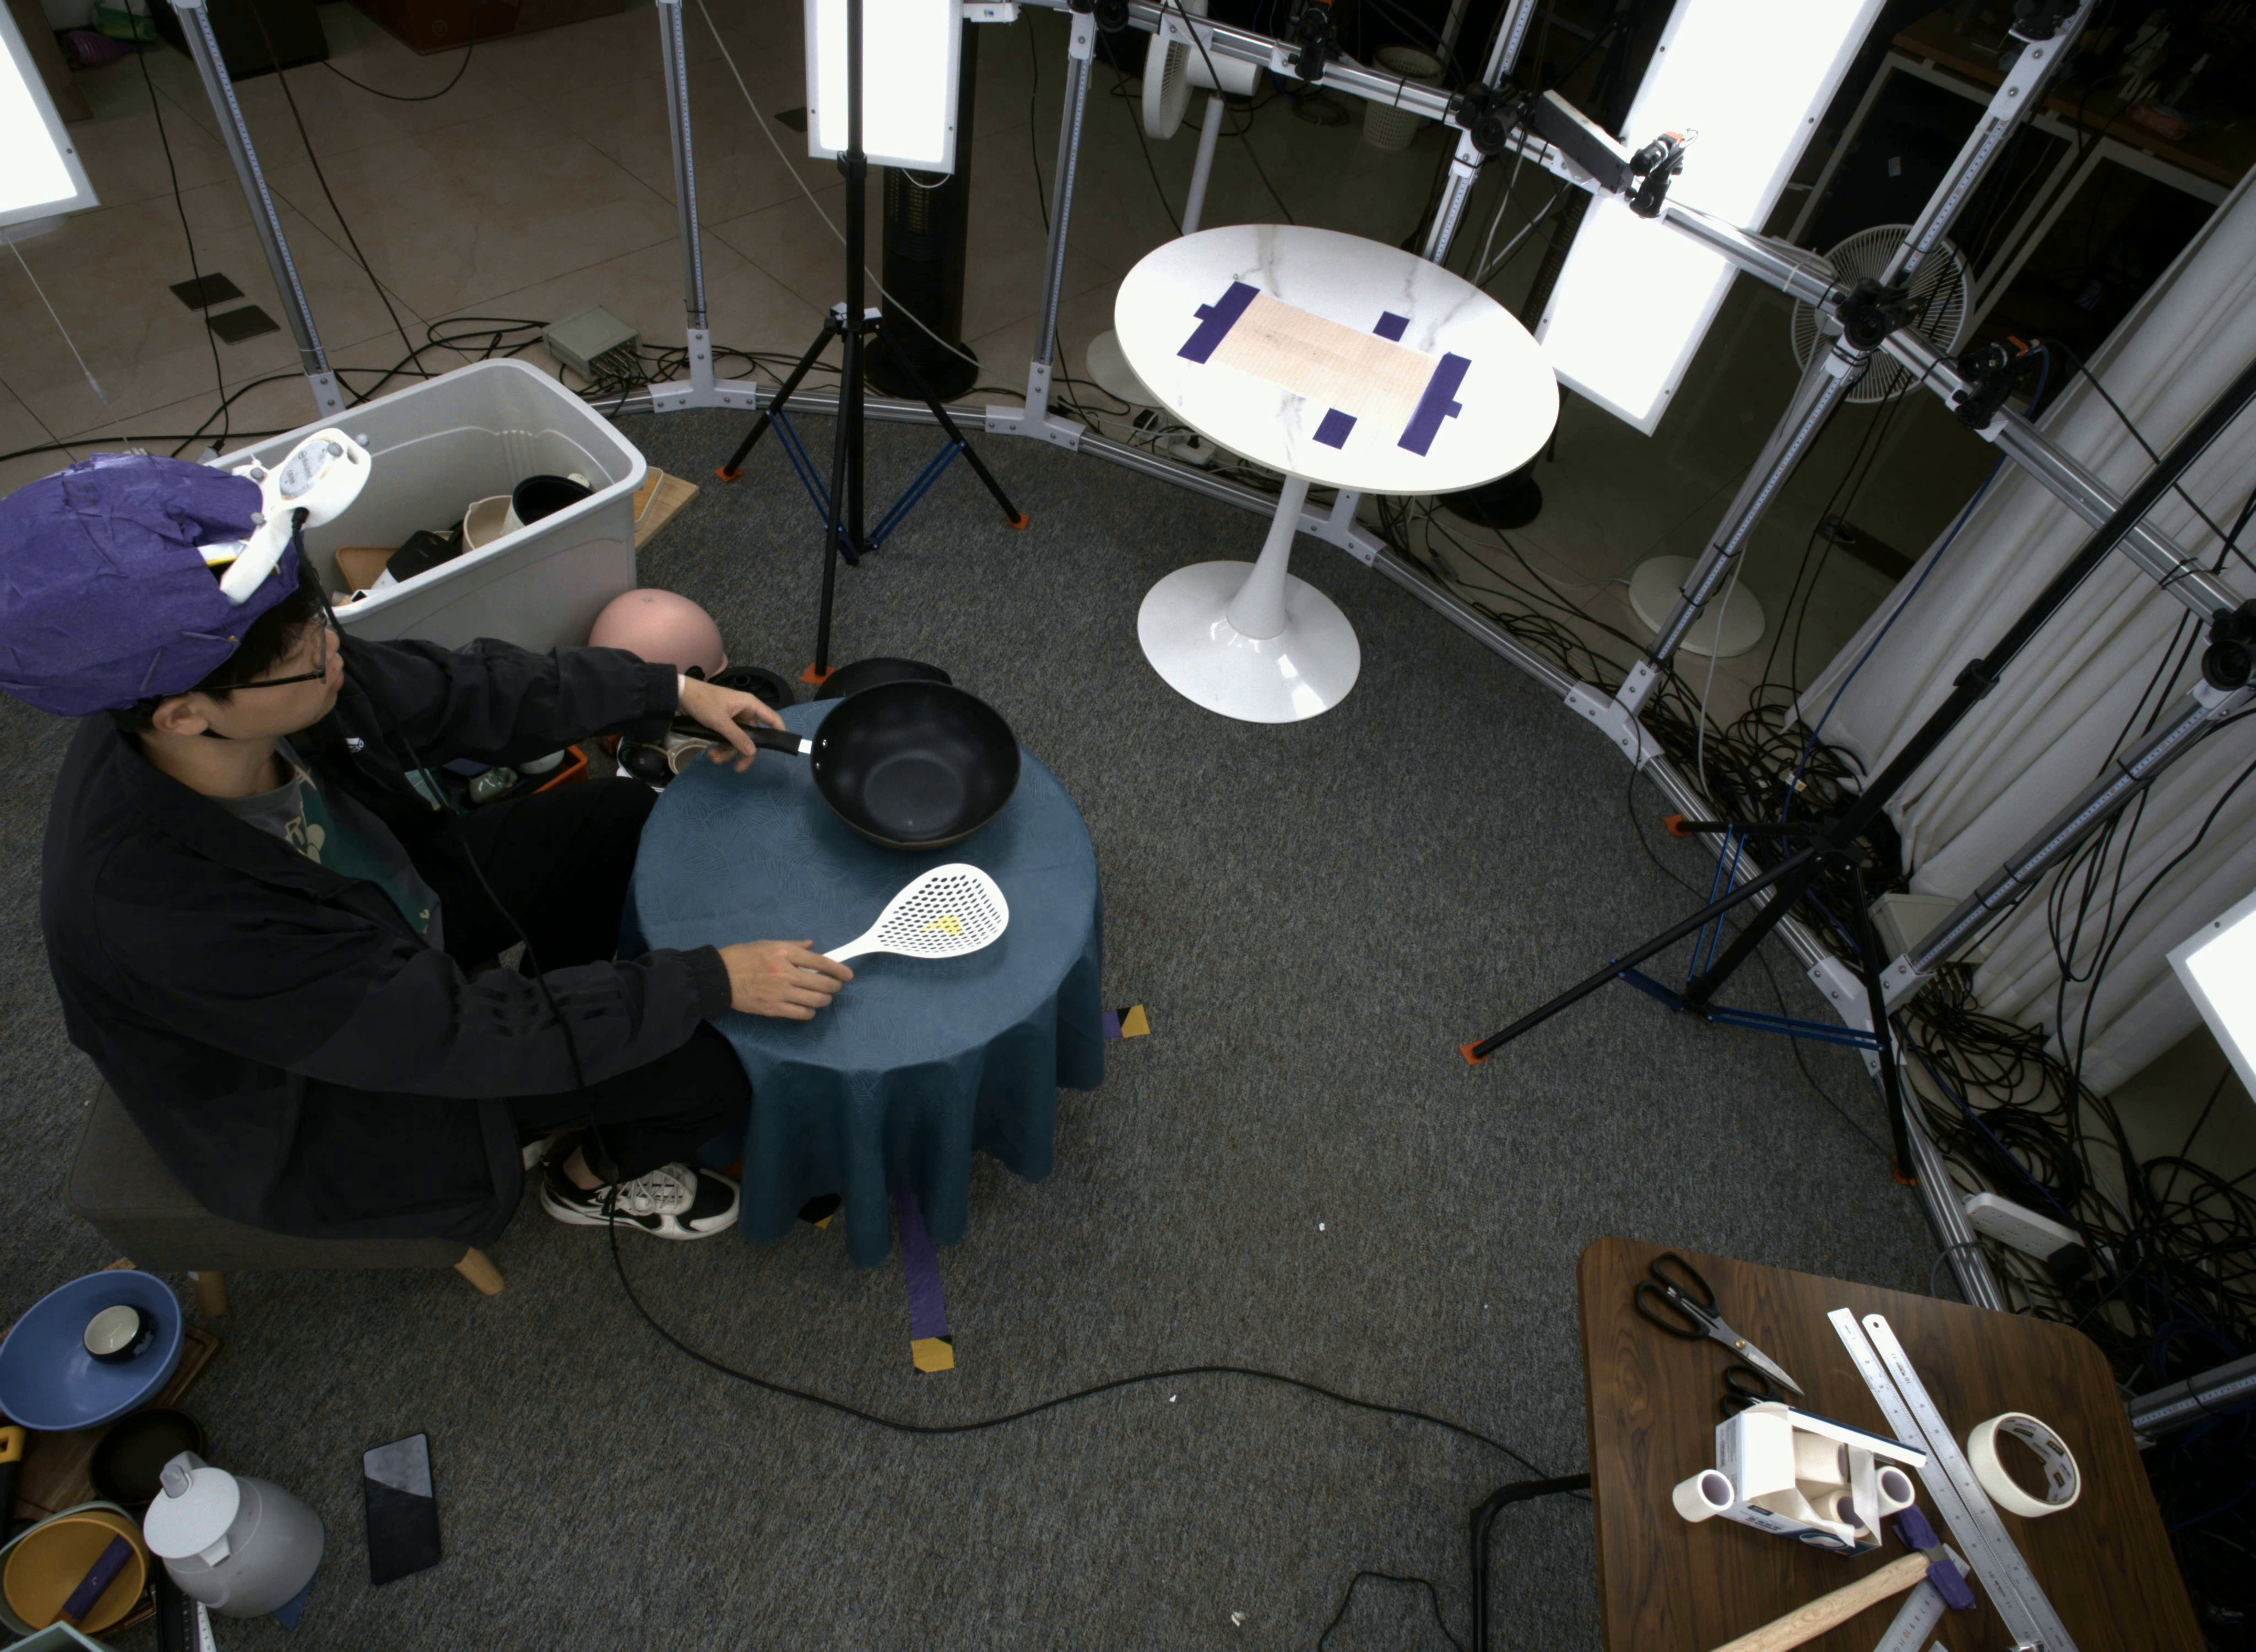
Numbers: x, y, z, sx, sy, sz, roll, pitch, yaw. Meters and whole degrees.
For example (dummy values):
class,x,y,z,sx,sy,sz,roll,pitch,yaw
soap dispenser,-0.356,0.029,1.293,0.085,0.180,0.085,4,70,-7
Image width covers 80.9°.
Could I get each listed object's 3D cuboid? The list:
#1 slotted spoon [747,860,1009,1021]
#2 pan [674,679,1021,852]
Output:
class,x,y,z,sx,sy,sz,roll,pitch,yaw
slotted spoon,-0.312,0.149,1.616,0.349,0.051,0.133,-22,61,-26
pan,-0.376,-0.081,1.743,0.461,0.089,0.283,8,52,-7
